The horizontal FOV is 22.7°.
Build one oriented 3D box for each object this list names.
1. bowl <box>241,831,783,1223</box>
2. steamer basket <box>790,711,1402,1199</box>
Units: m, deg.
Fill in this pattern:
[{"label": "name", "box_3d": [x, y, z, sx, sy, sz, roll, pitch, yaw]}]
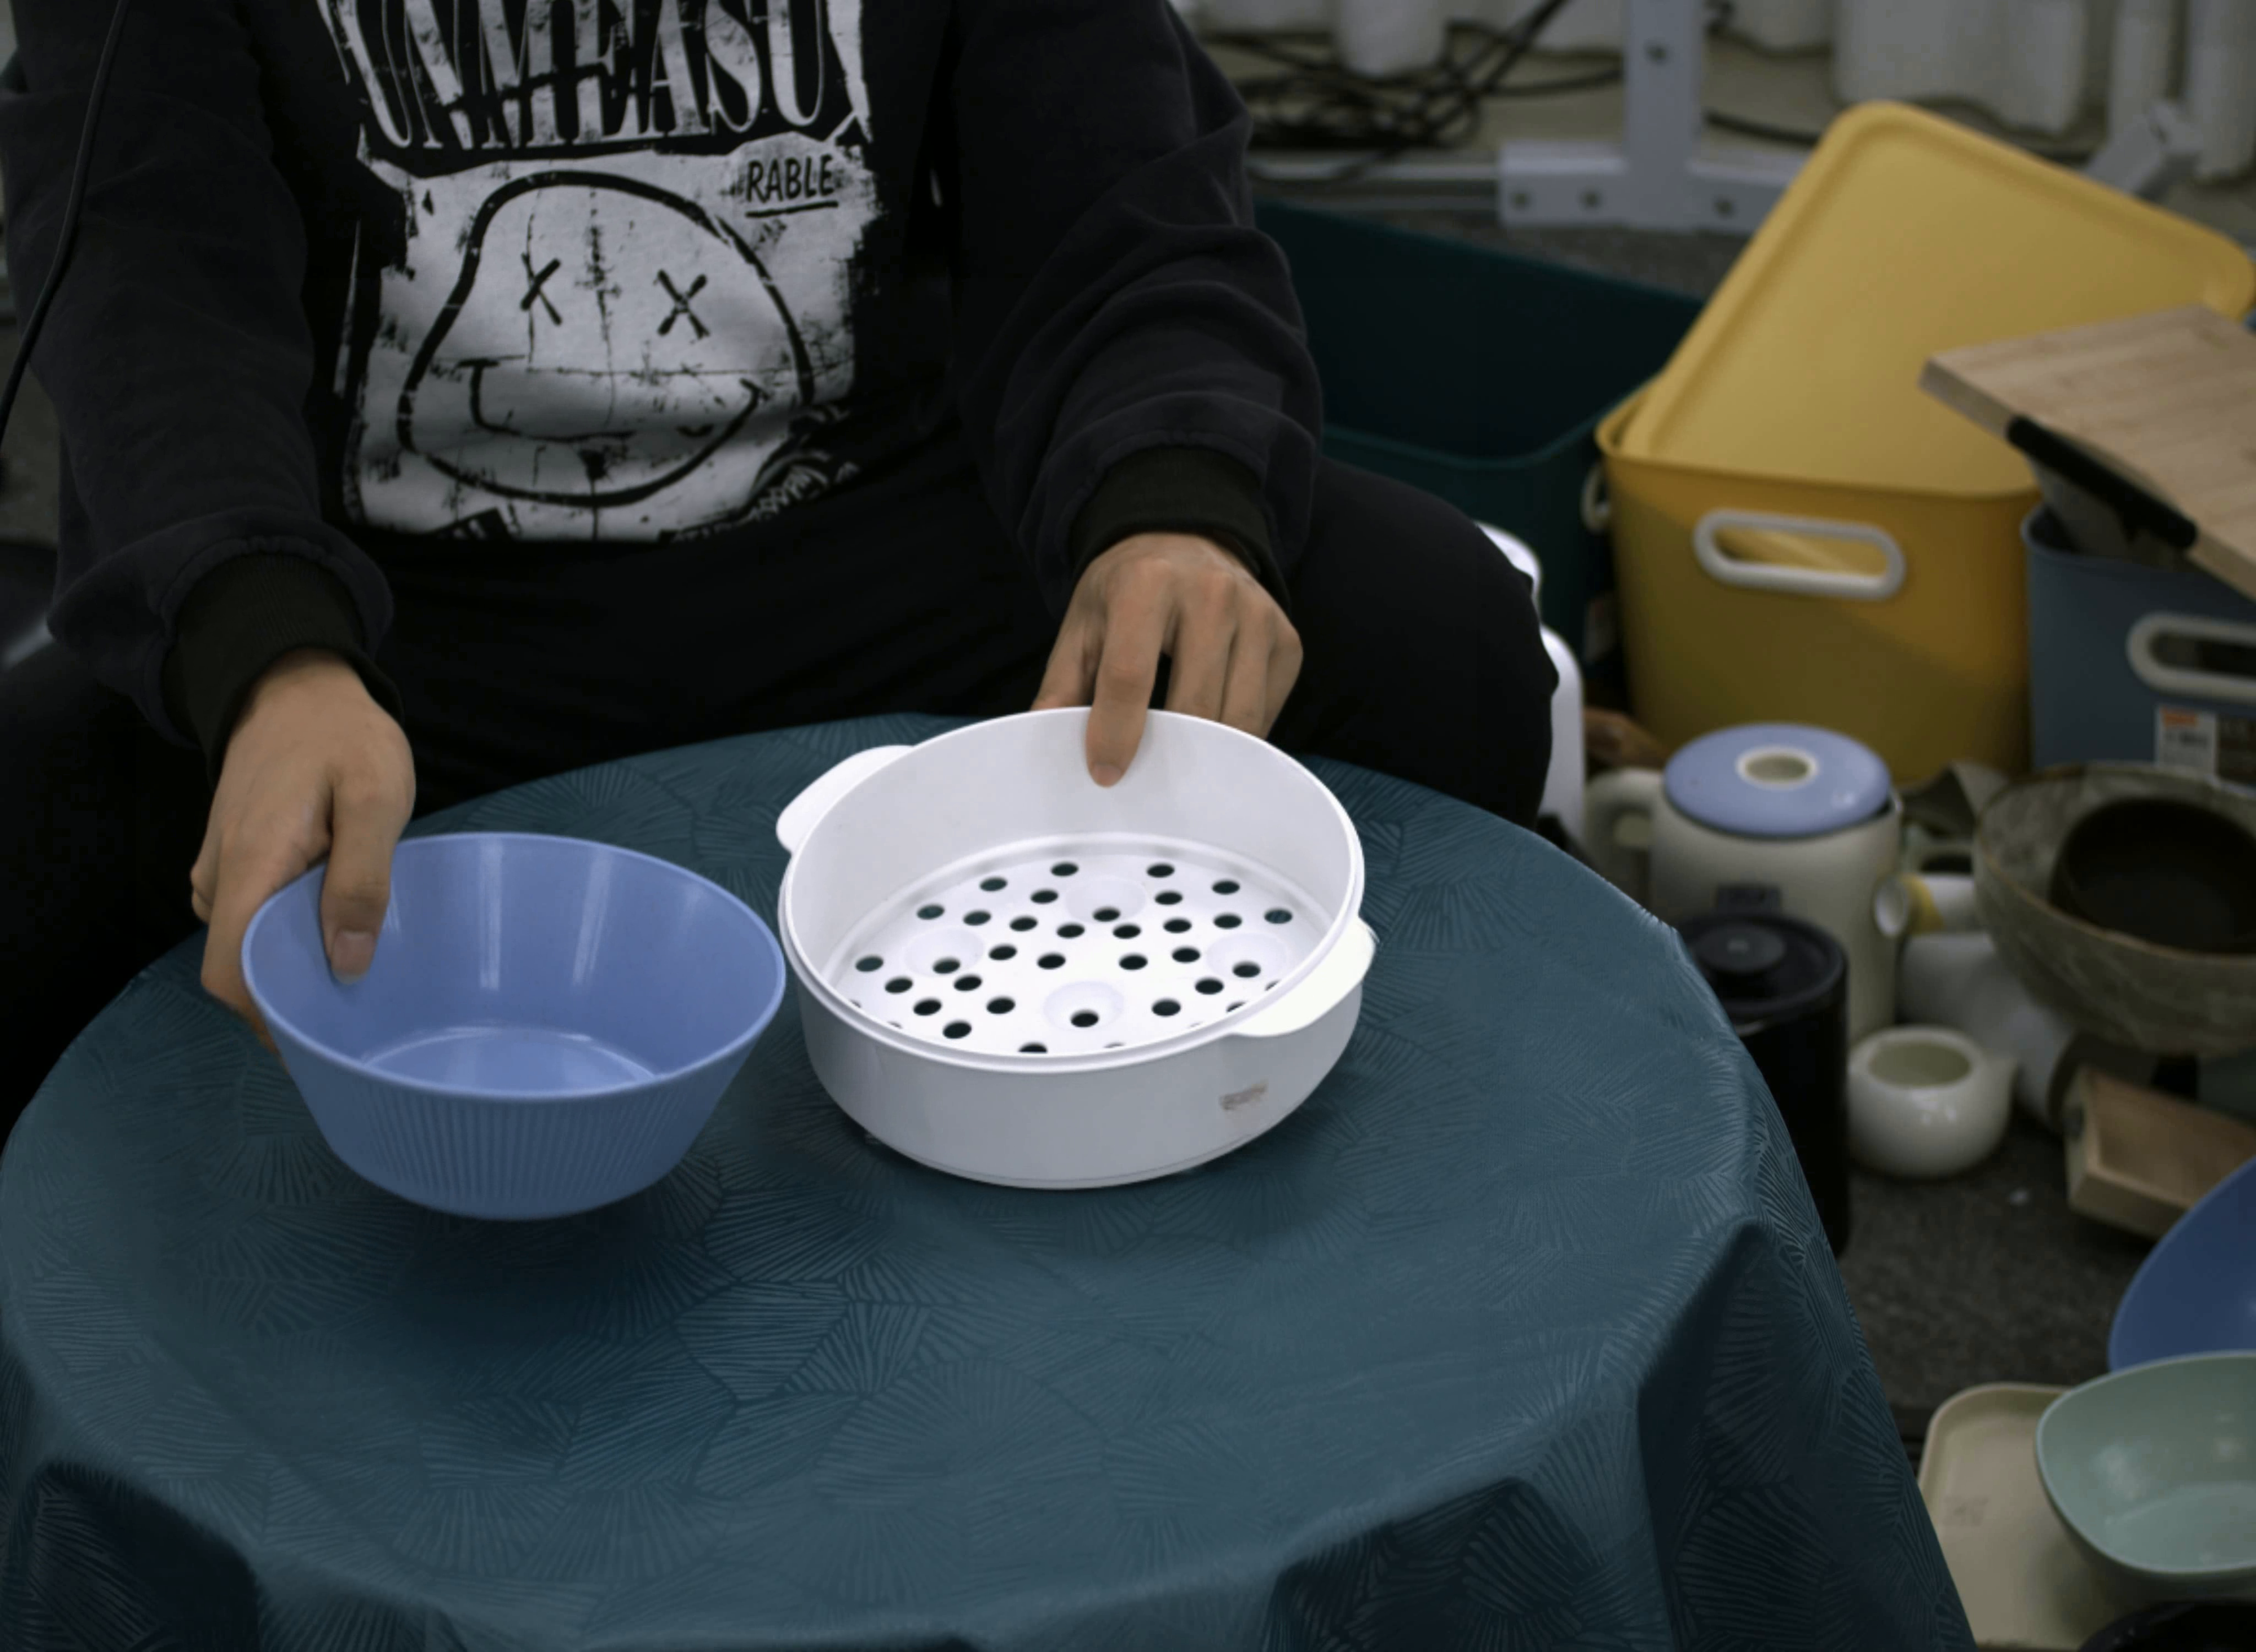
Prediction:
[{"label": "bowl", "box_3d": [-0.202, 0.072, 1.833, 0.175, 0.069, 0.179, 5, 28, -2]}, {"label": "steamer basket", "box_3d": [-0.011, 0.045, 1.918, 0.230, 0.068, 0.205, 22, 43, 30]}]
